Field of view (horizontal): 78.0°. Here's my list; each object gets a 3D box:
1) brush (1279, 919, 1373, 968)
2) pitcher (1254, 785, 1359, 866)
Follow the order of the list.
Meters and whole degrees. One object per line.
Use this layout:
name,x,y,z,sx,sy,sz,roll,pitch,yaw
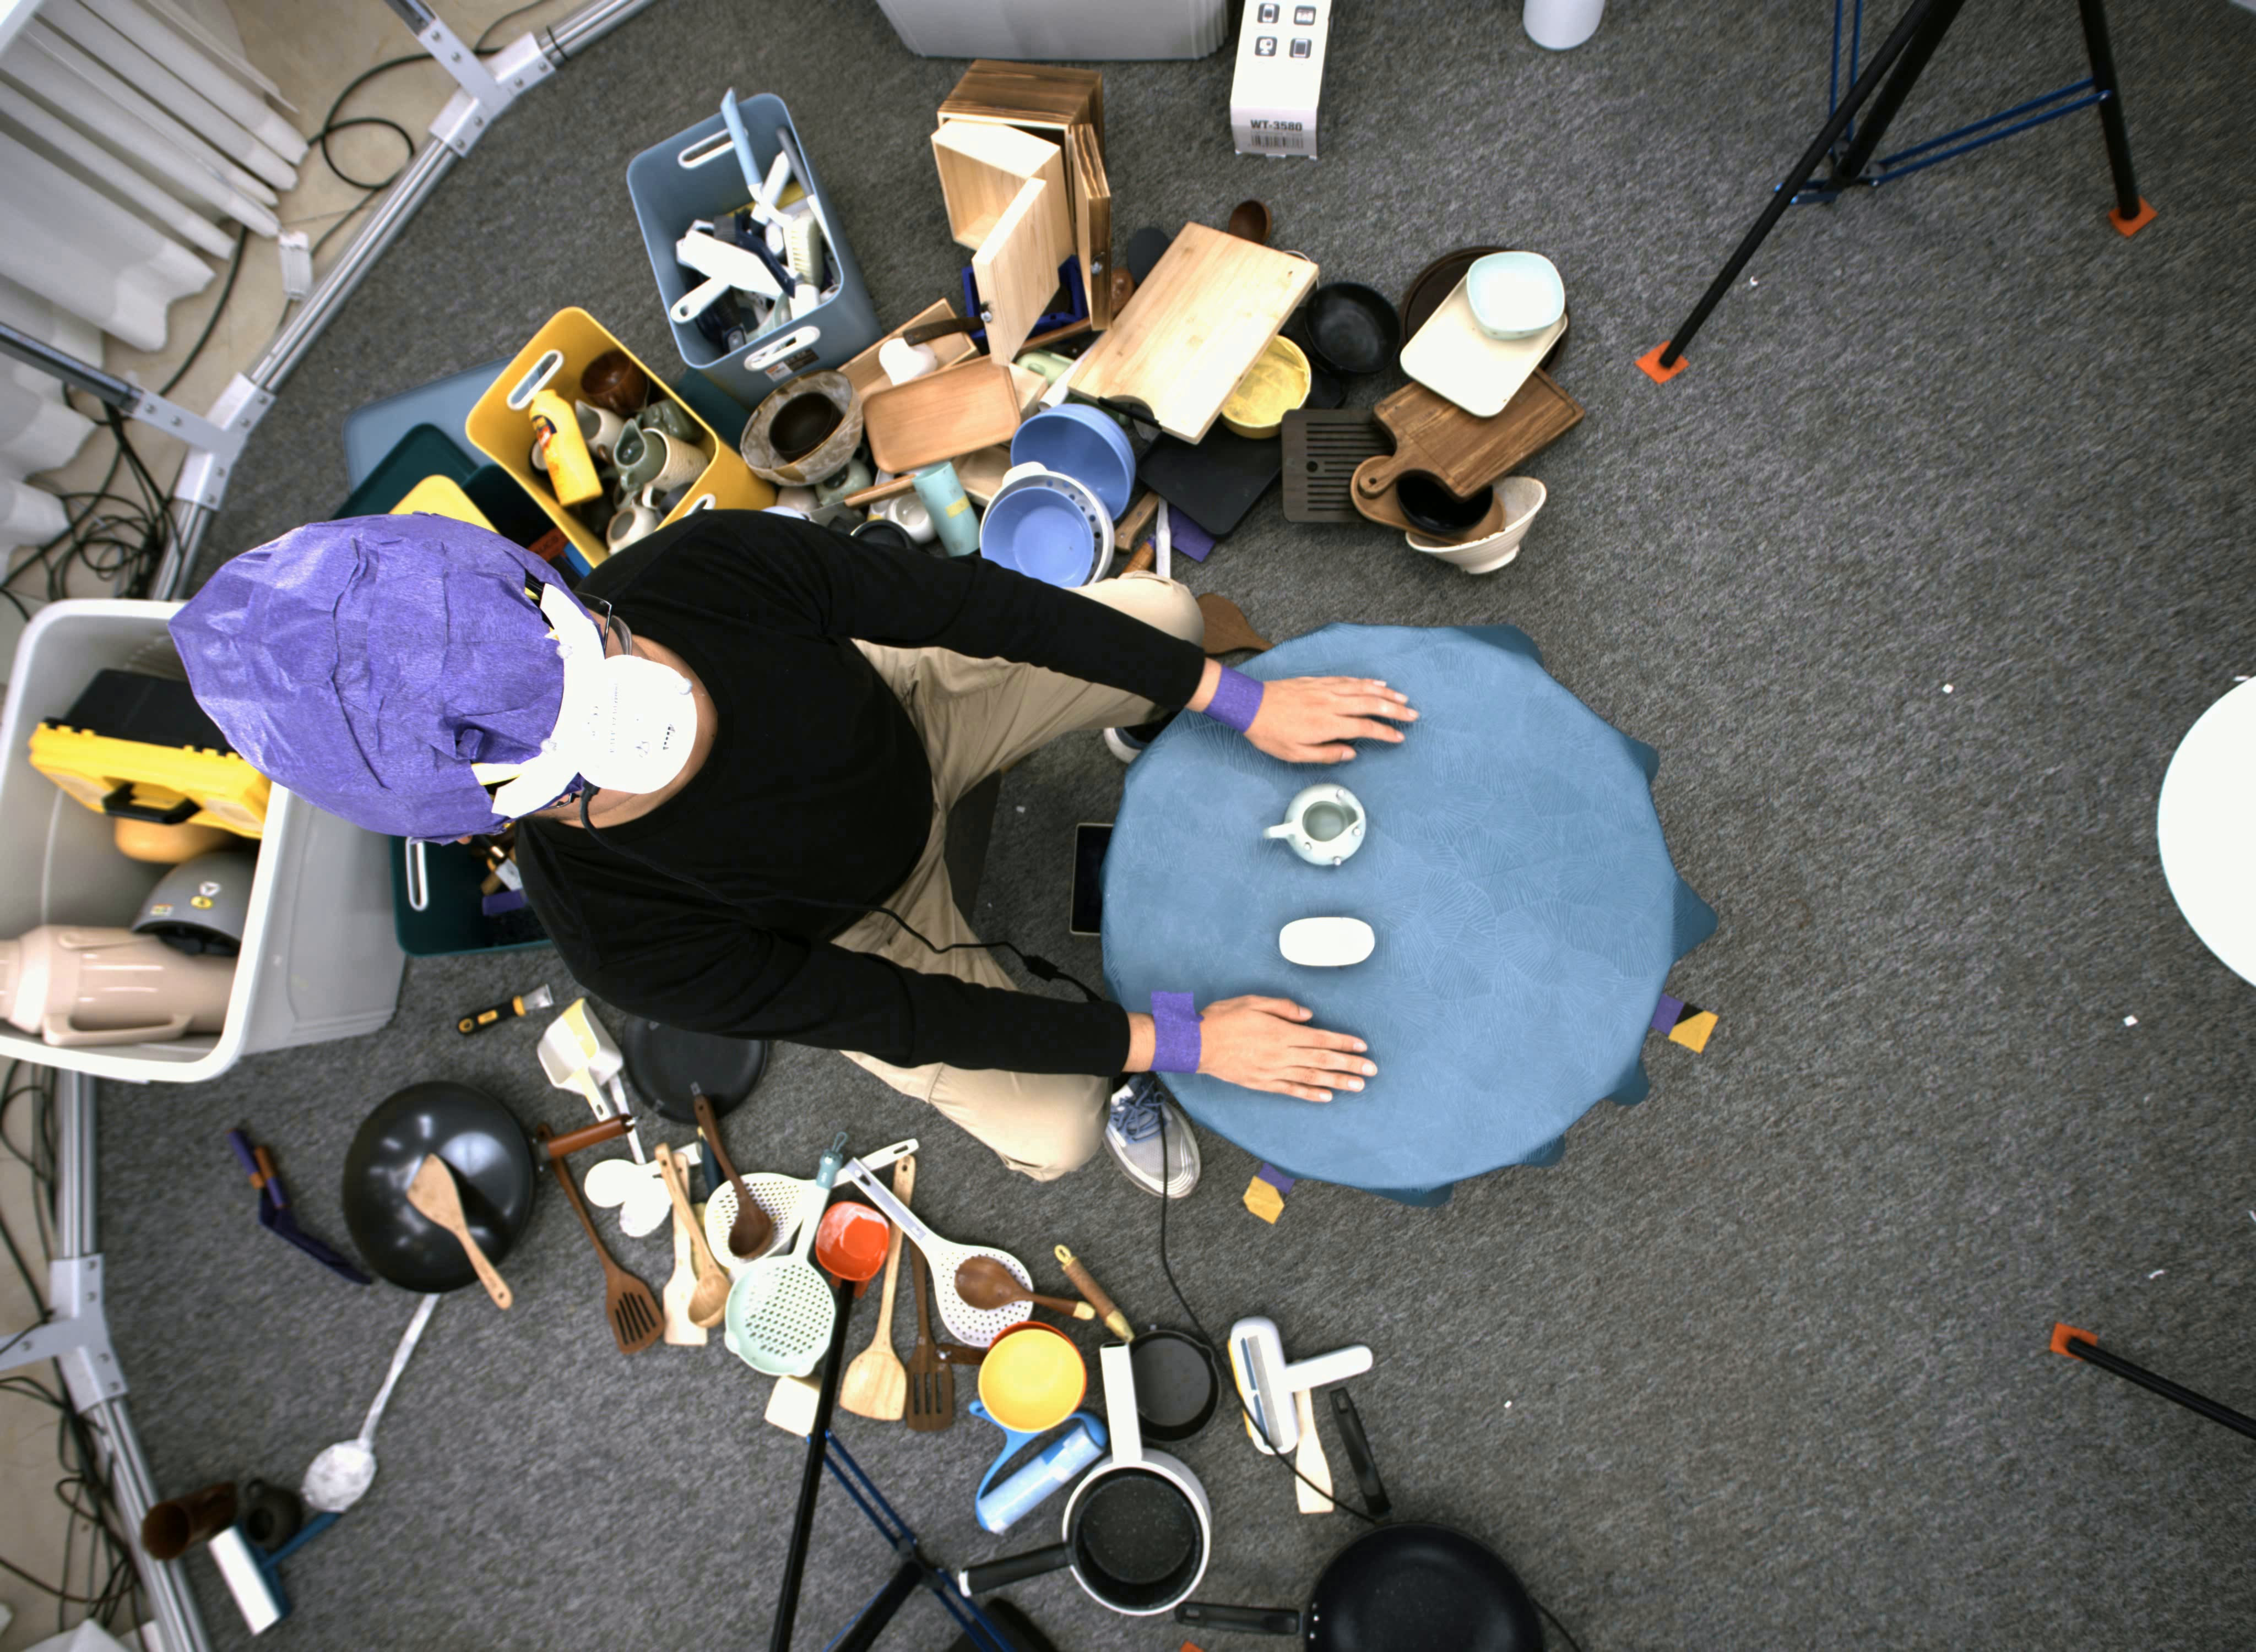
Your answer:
brush,0.205,0.119,1.431,0.099,0.073,0.050,1,83,9
pitcher,0.183,-0.001,1.446,0.108,0.060,0.086,2,97,-6
